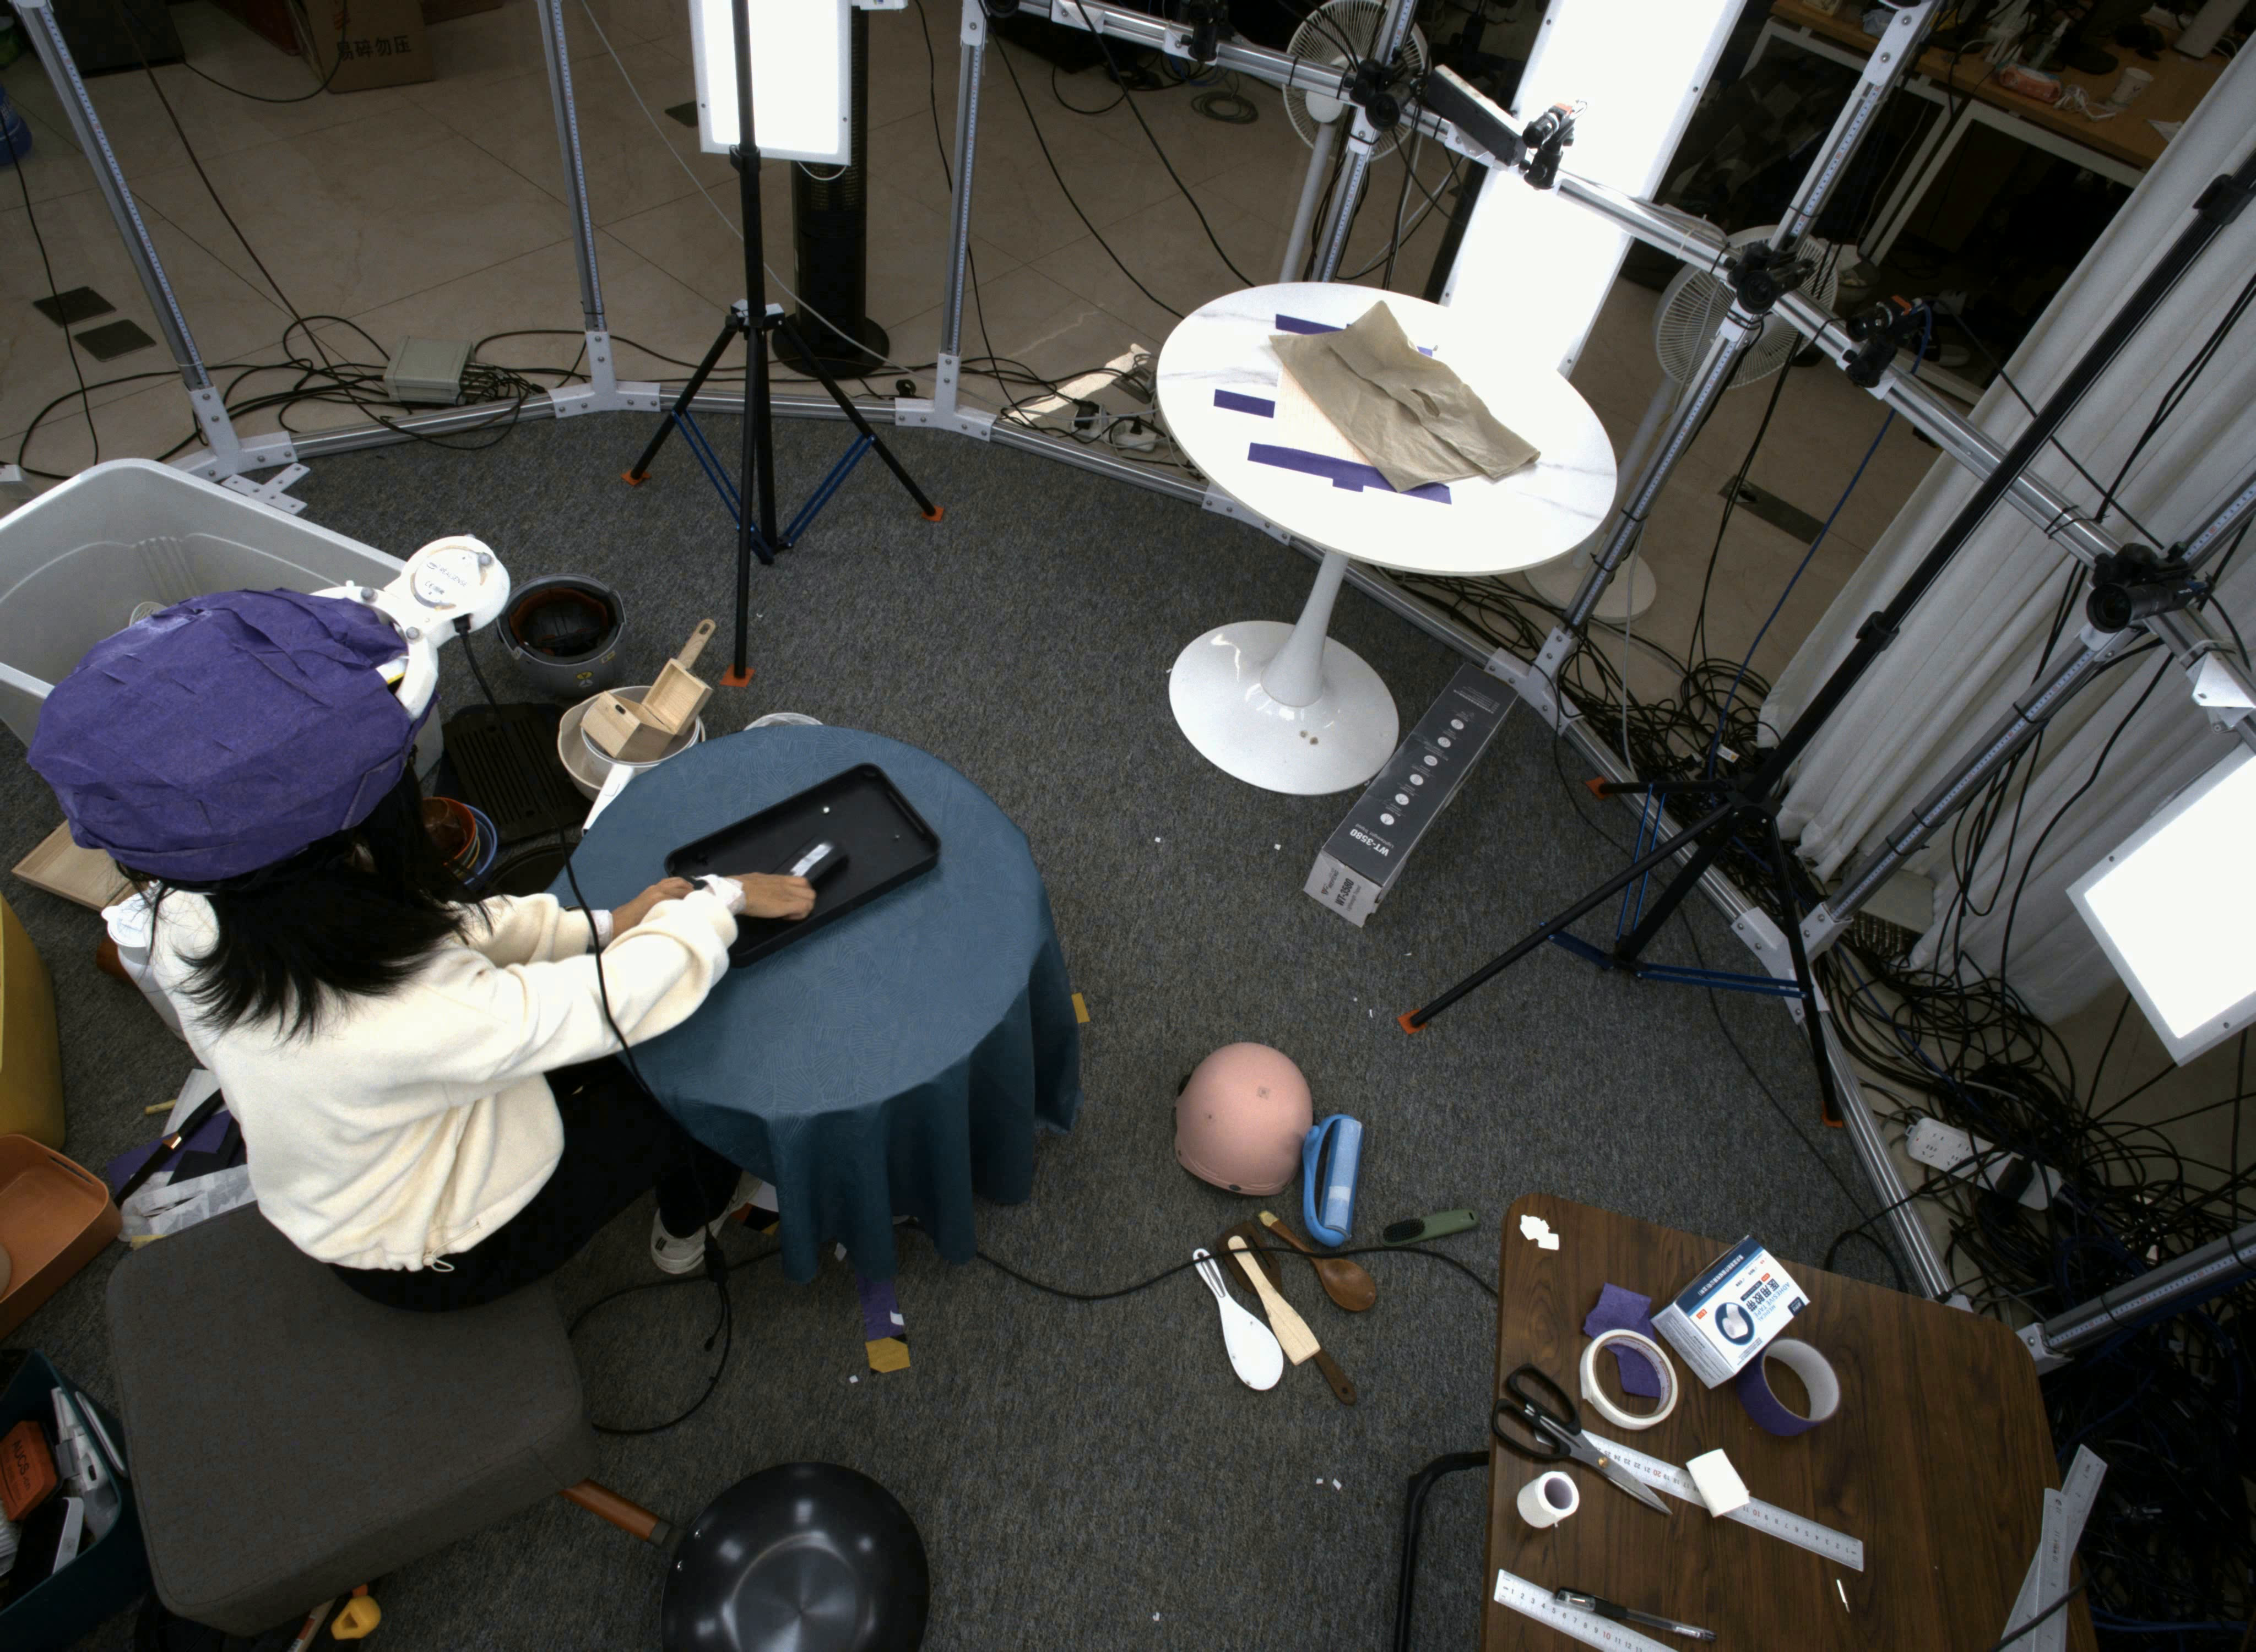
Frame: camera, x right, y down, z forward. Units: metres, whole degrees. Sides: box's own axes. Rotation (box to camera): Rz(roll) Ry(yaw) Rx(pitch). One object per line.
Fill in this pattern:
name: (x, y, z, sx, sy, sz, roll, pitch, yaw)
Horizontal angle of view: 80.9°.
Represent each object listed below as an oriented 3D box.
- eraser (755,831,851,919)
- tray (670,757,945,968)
eraser: (-0.413, 0.059, 1.655, 0.052, 0.031, 0.125, 31, 53, 16)
tray: (-0.408, 0.039, 1.670, 0.319, 0.038, 0.180, -33, 67, -33)
